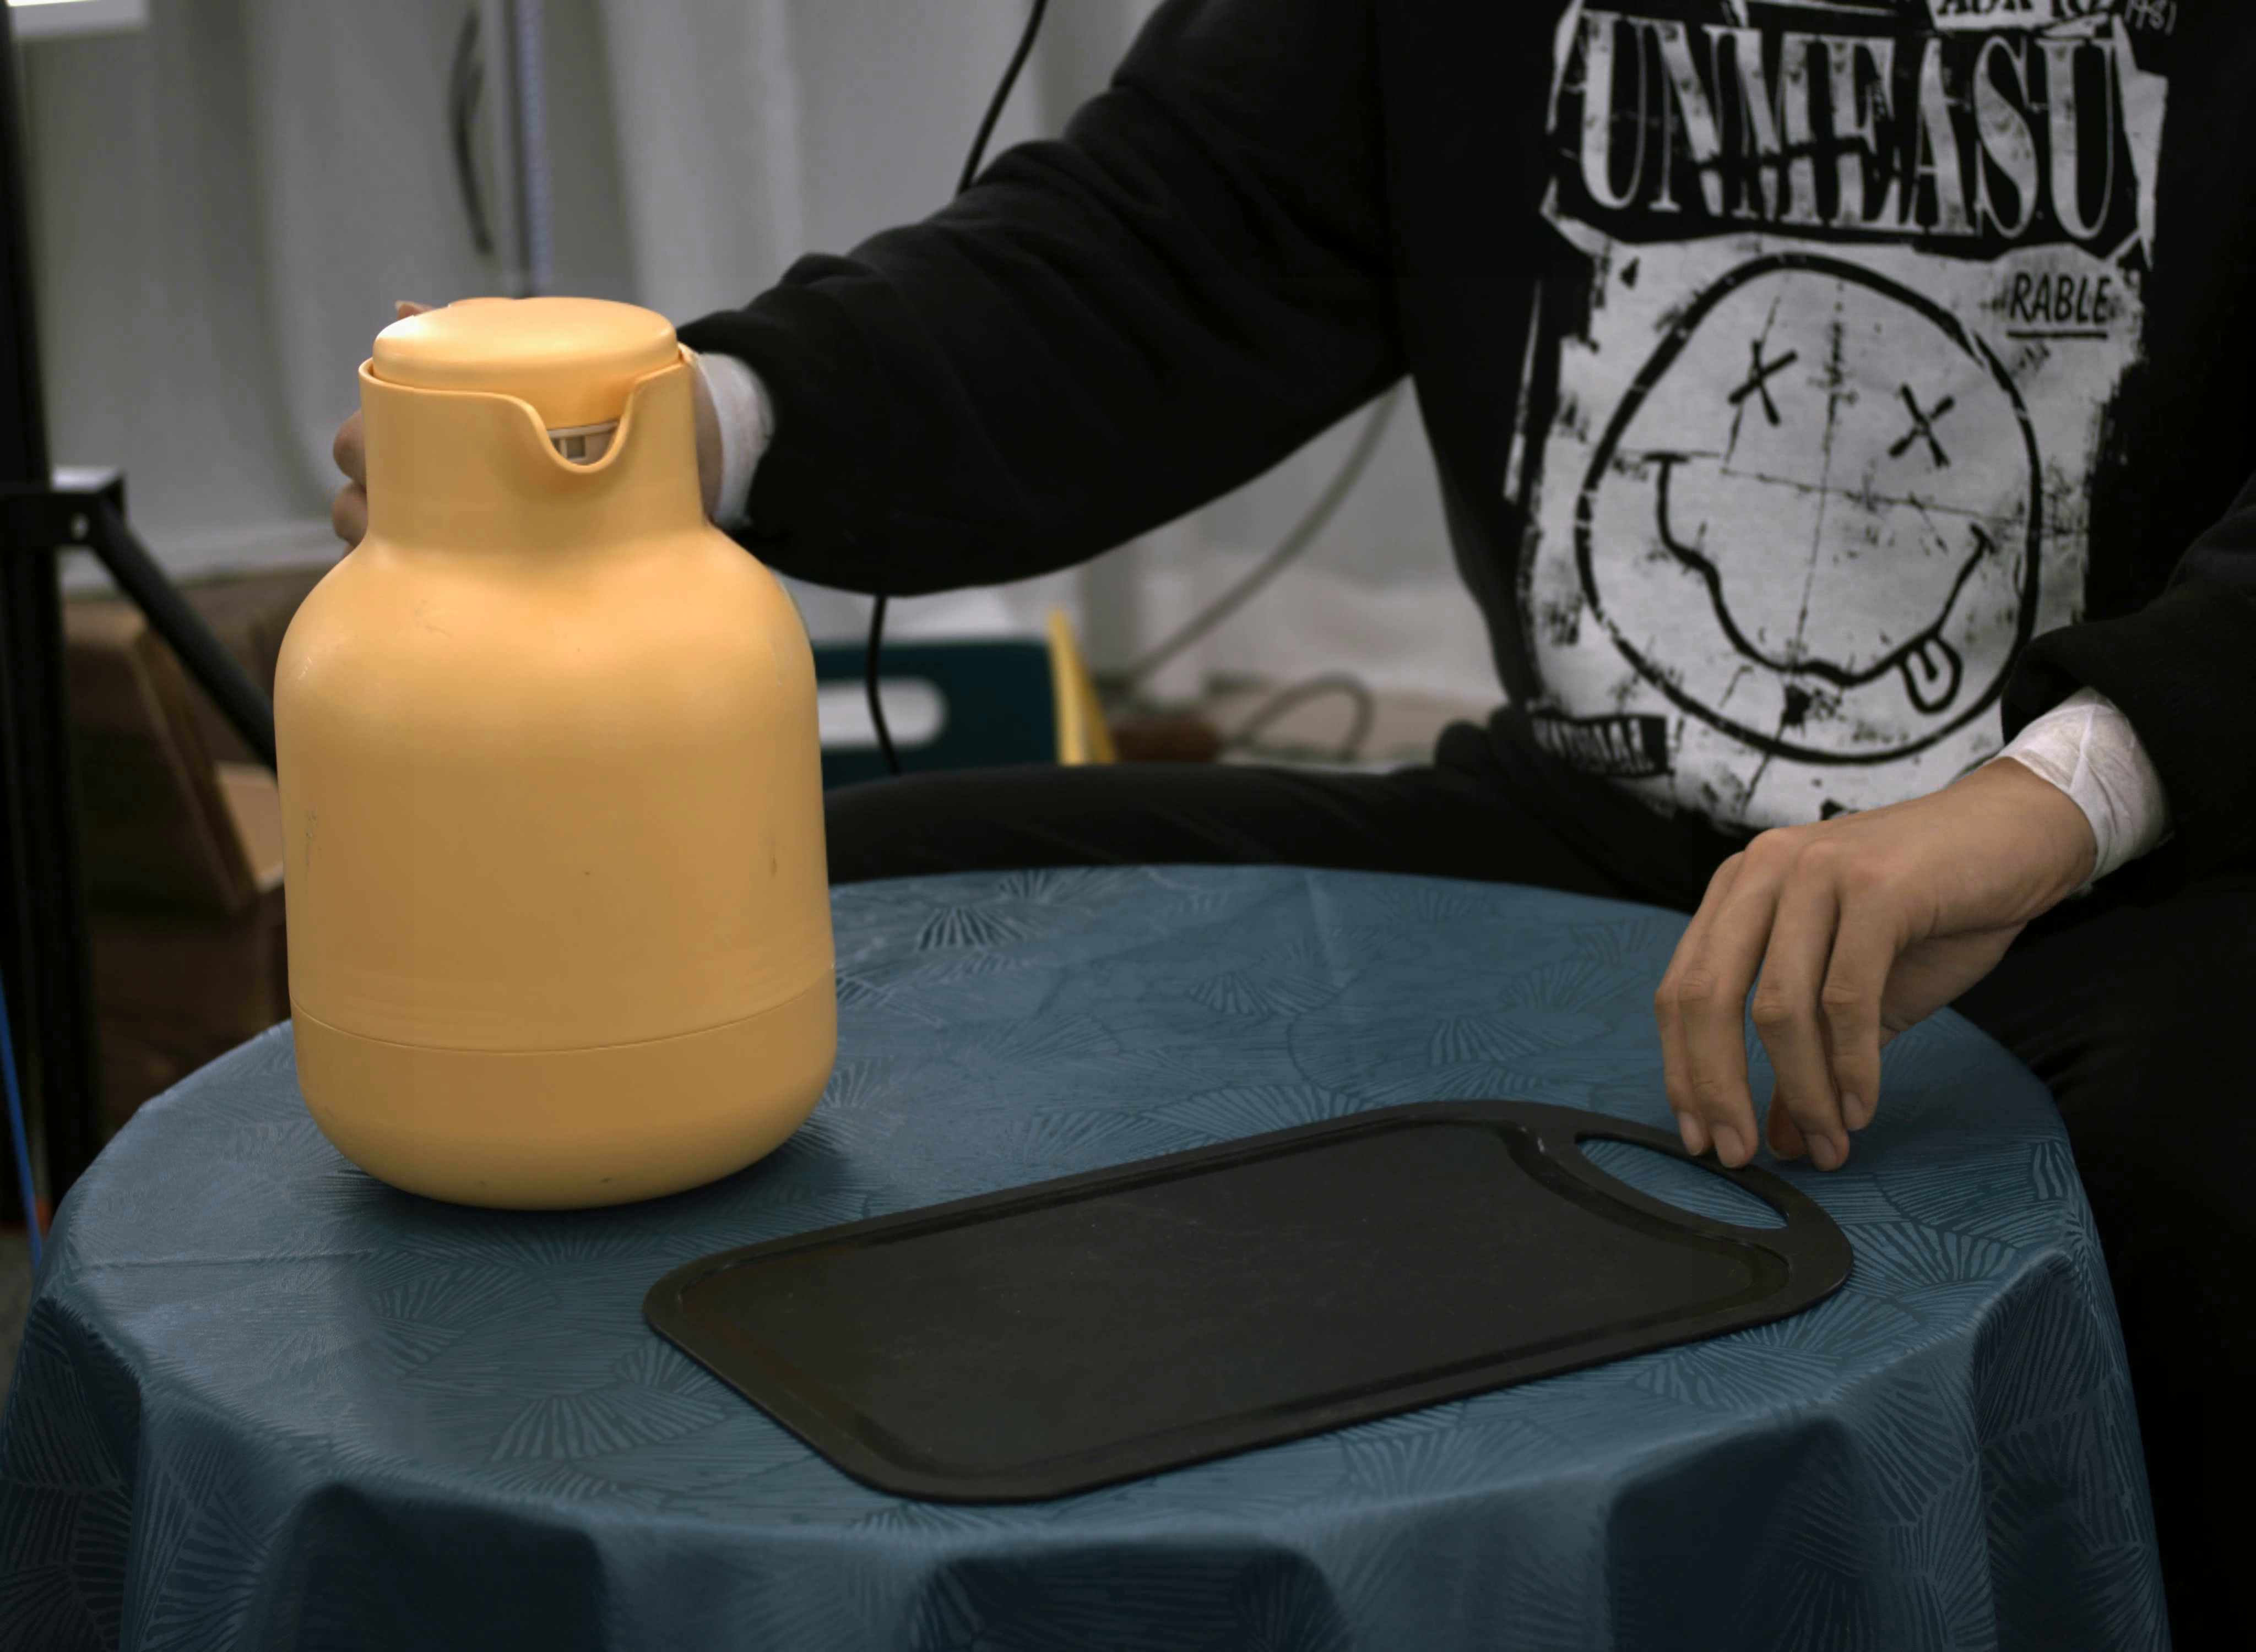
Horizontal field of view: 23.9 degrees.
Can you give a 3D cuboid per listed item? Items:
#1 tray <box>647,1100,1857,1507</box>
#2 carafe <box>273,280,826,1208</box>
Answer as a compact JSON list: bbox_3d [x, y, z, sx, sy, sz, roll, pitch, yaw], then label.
[{"bbox_3d":[0.041,0.125,1.476,0.319,0.010,0.215,-10,18,-25],"label":"tray"},{"bbox_3d":[-0.176,-0.033,1.601,0.161,0.260,0.205,-4,17,-15],"label":"carafe"}]
